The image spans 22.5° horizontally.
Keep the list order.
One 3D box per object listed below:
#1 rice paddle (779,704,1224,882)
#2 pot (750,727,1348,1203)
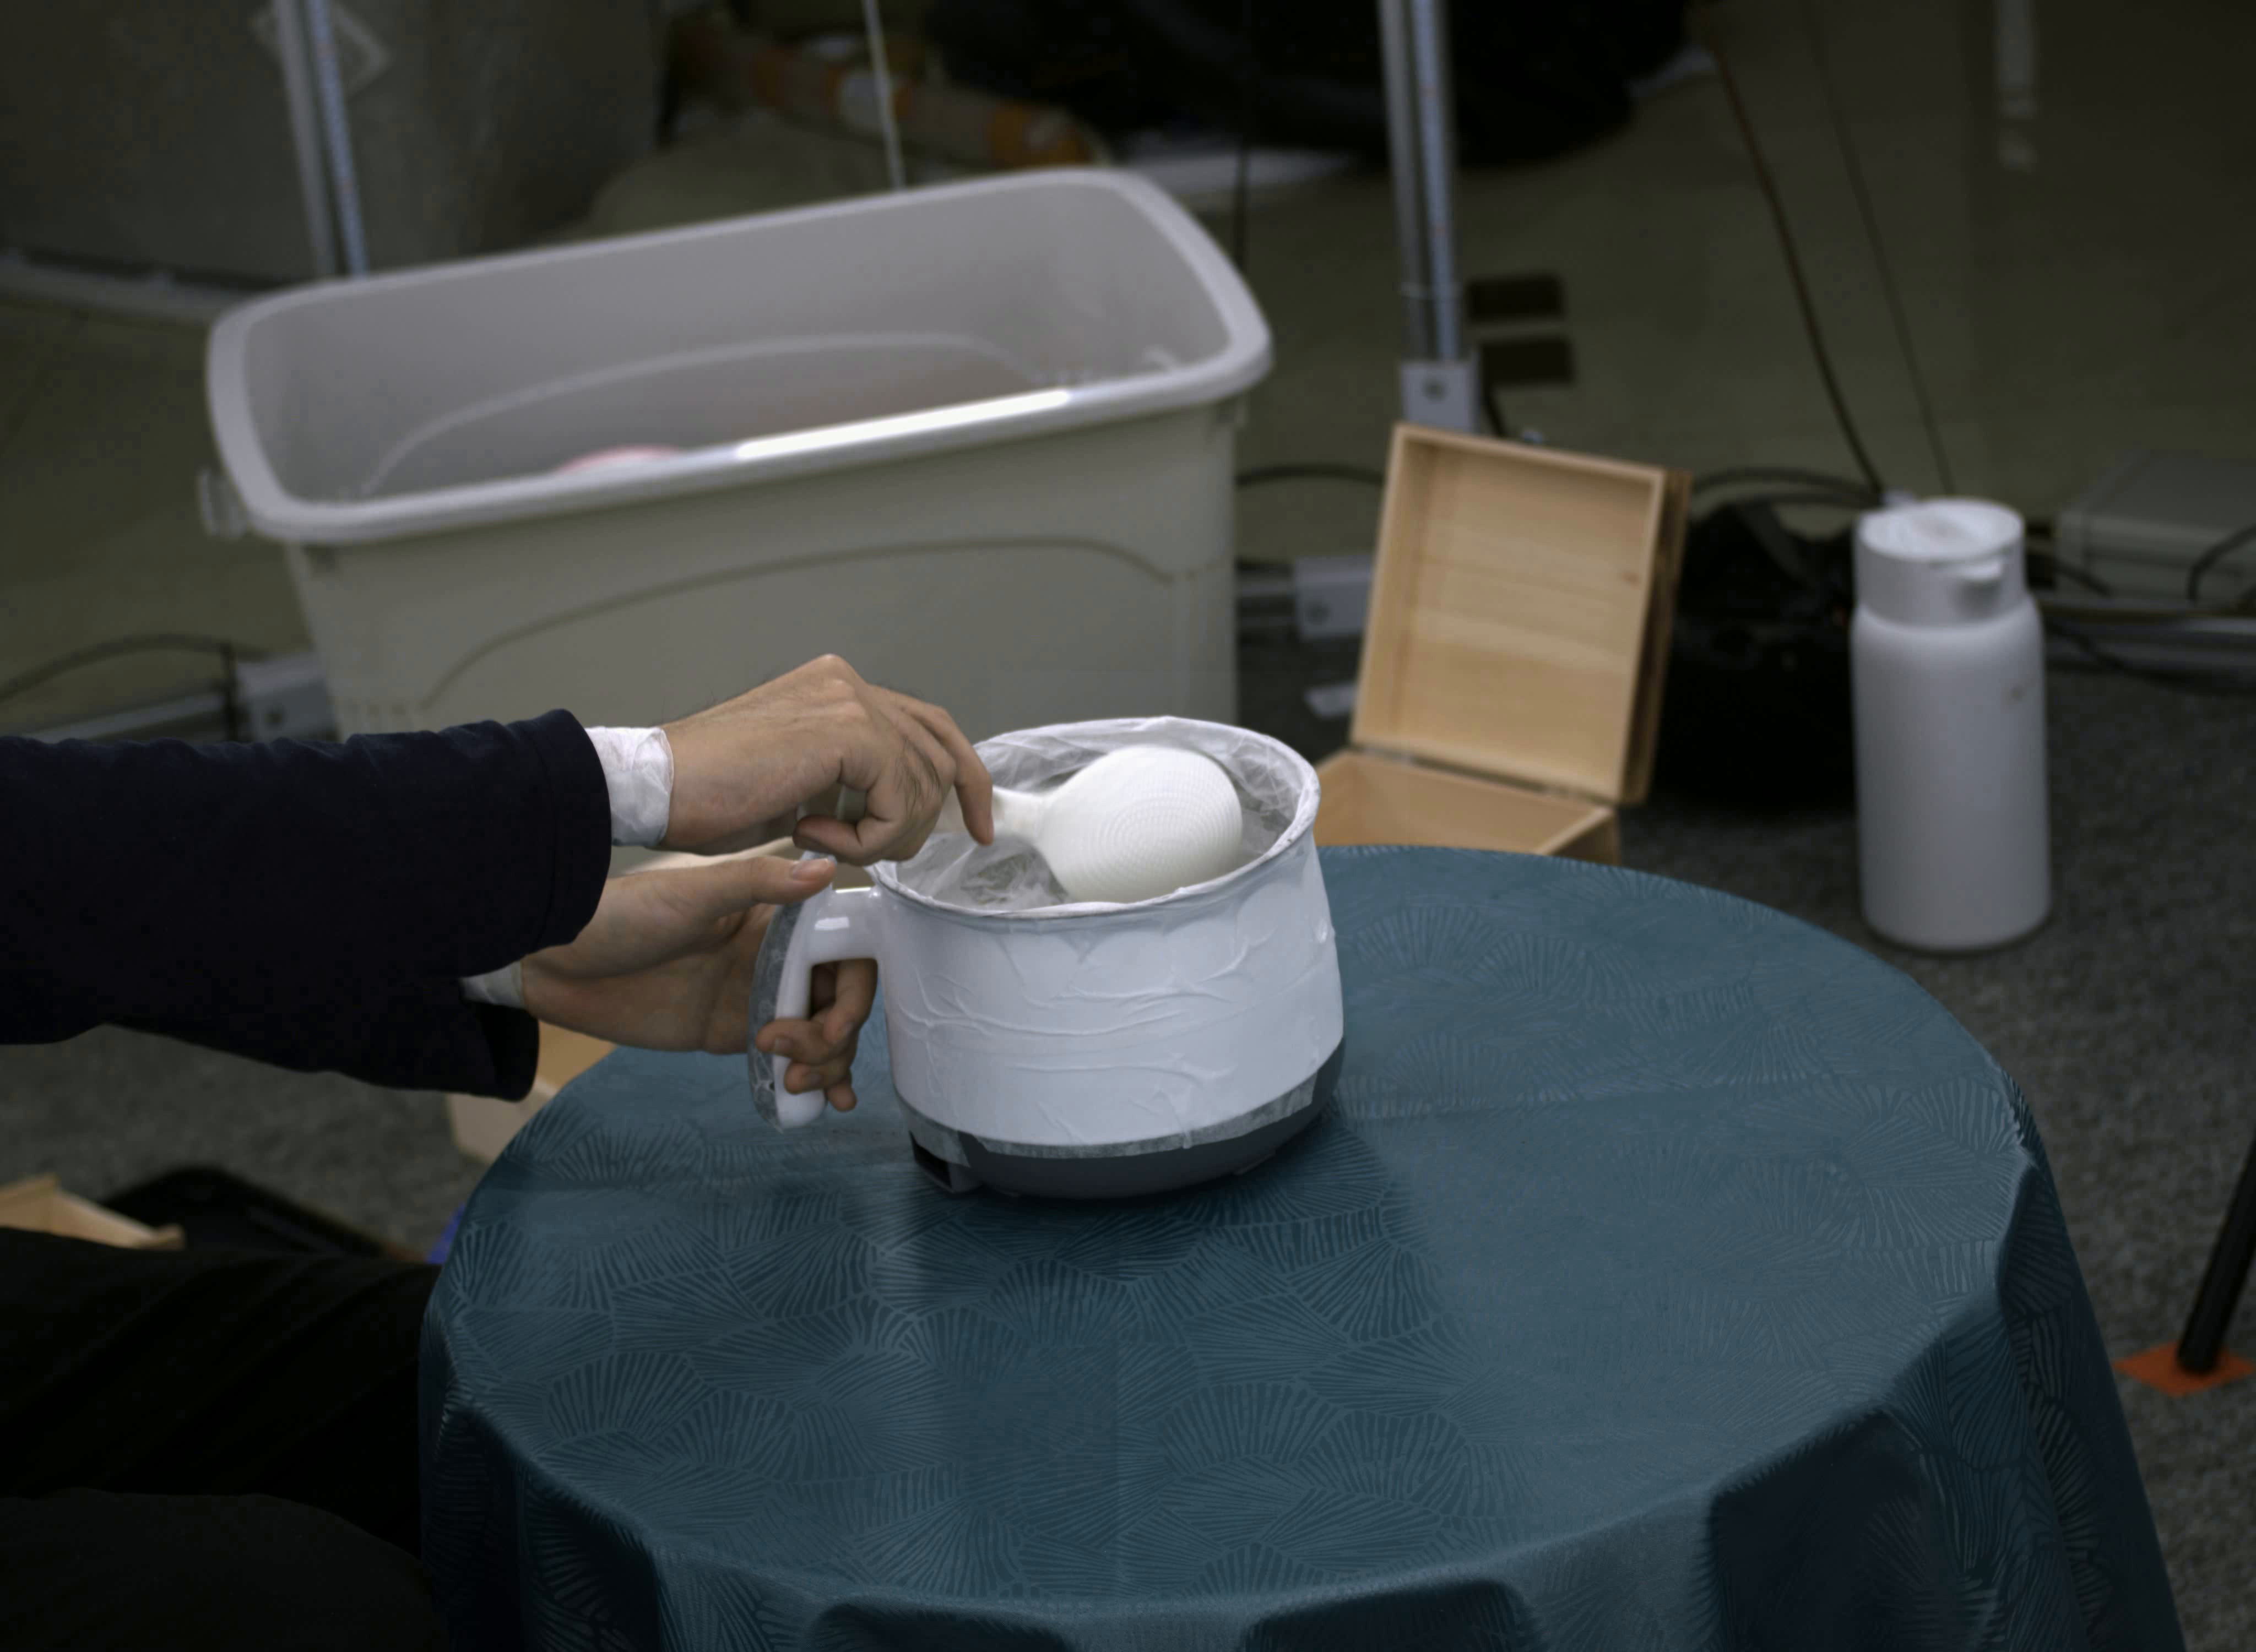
[{"bbox_3d":[-0.041,-0.017,2.082,0.205,0.069,0.029,6,12,-43],"label":"rice paddle"},{"bbox_3d":[-0.034,0.058,2.177,0.233,0.138,0.176,-8,23,3],"label":"pot"}]
